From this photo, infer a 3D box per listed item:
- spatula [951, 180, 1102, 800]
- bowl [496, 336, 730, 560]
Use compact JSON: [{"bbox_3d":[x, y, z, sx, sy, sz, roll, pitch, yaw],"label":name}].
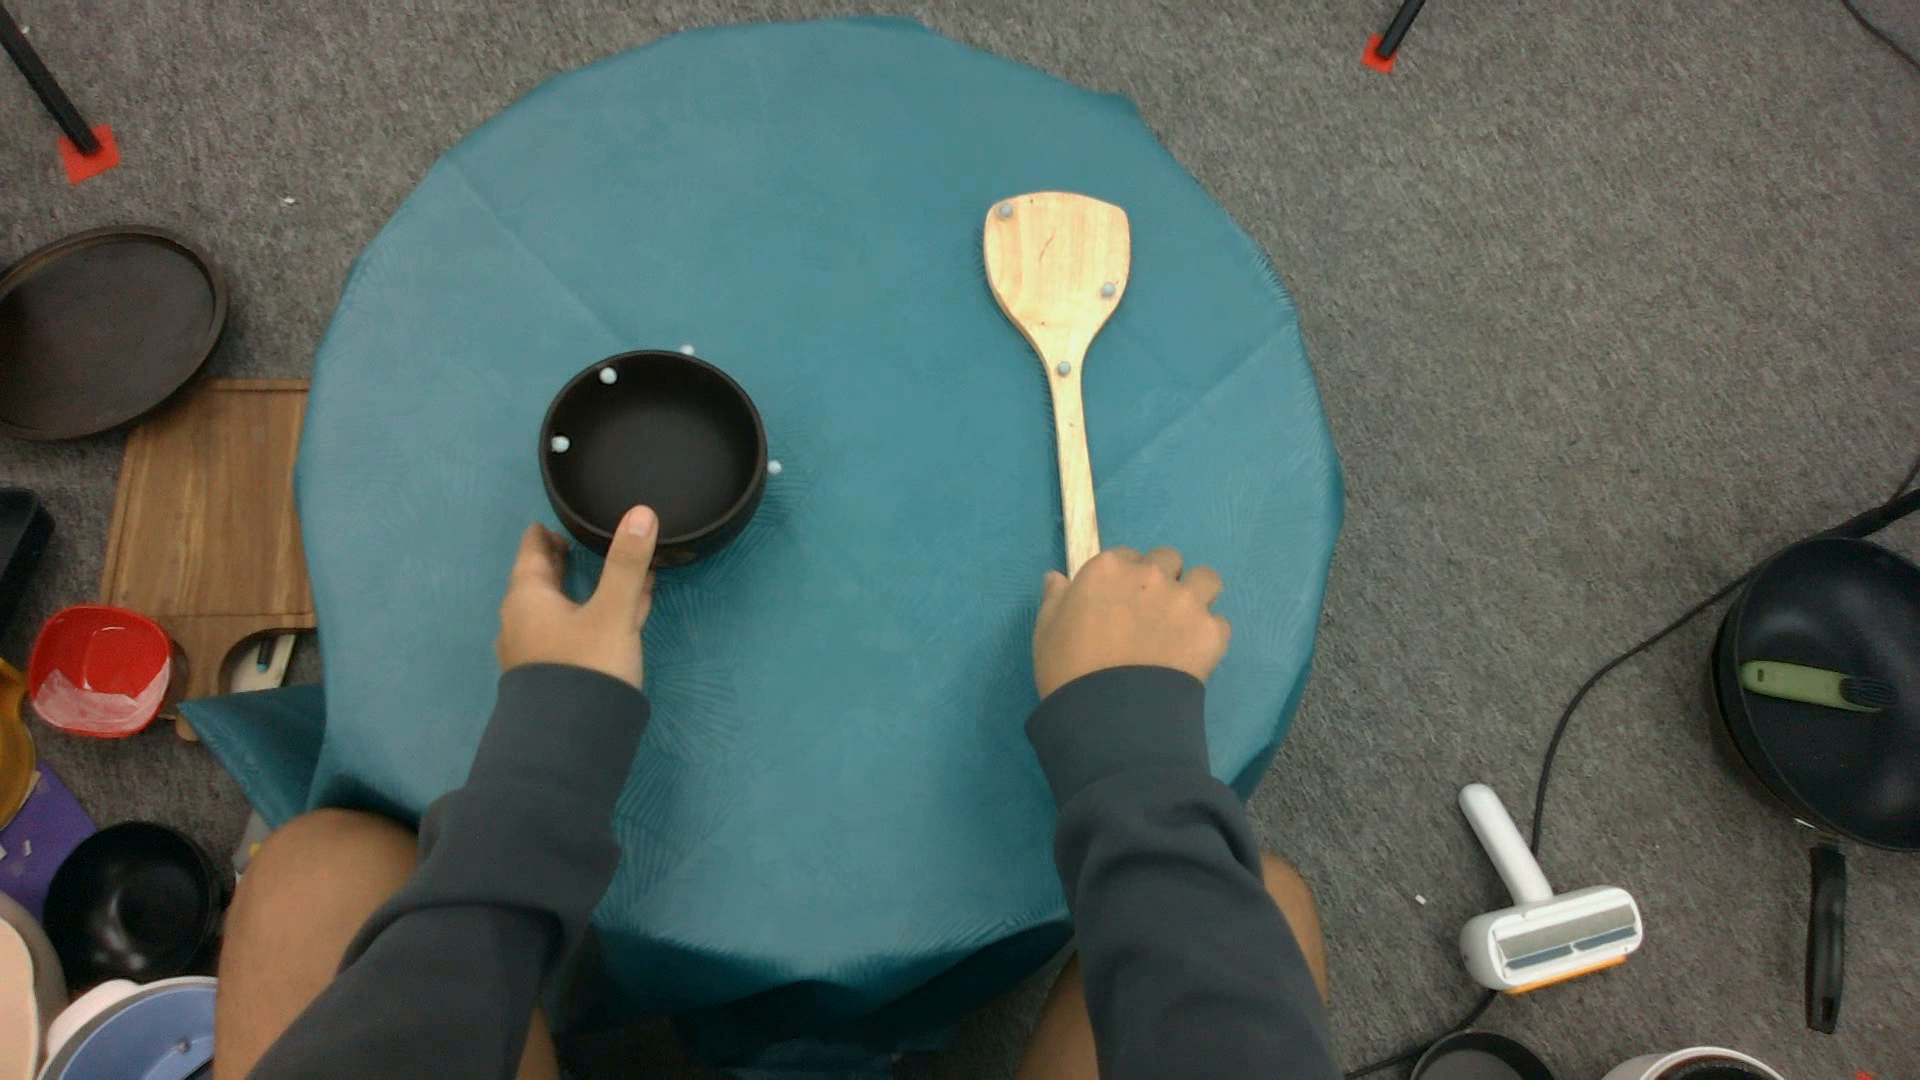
[{"bbox_3d":[0.054,-0.043,0.810,0.096,0.018,0.392,-2,69,-9],"label":"spatula"},{"bbox_3d":[-0.183,-0.043,0.739,0.118,0.069,0.118,3,70,-7],"label":"bowl"}]
